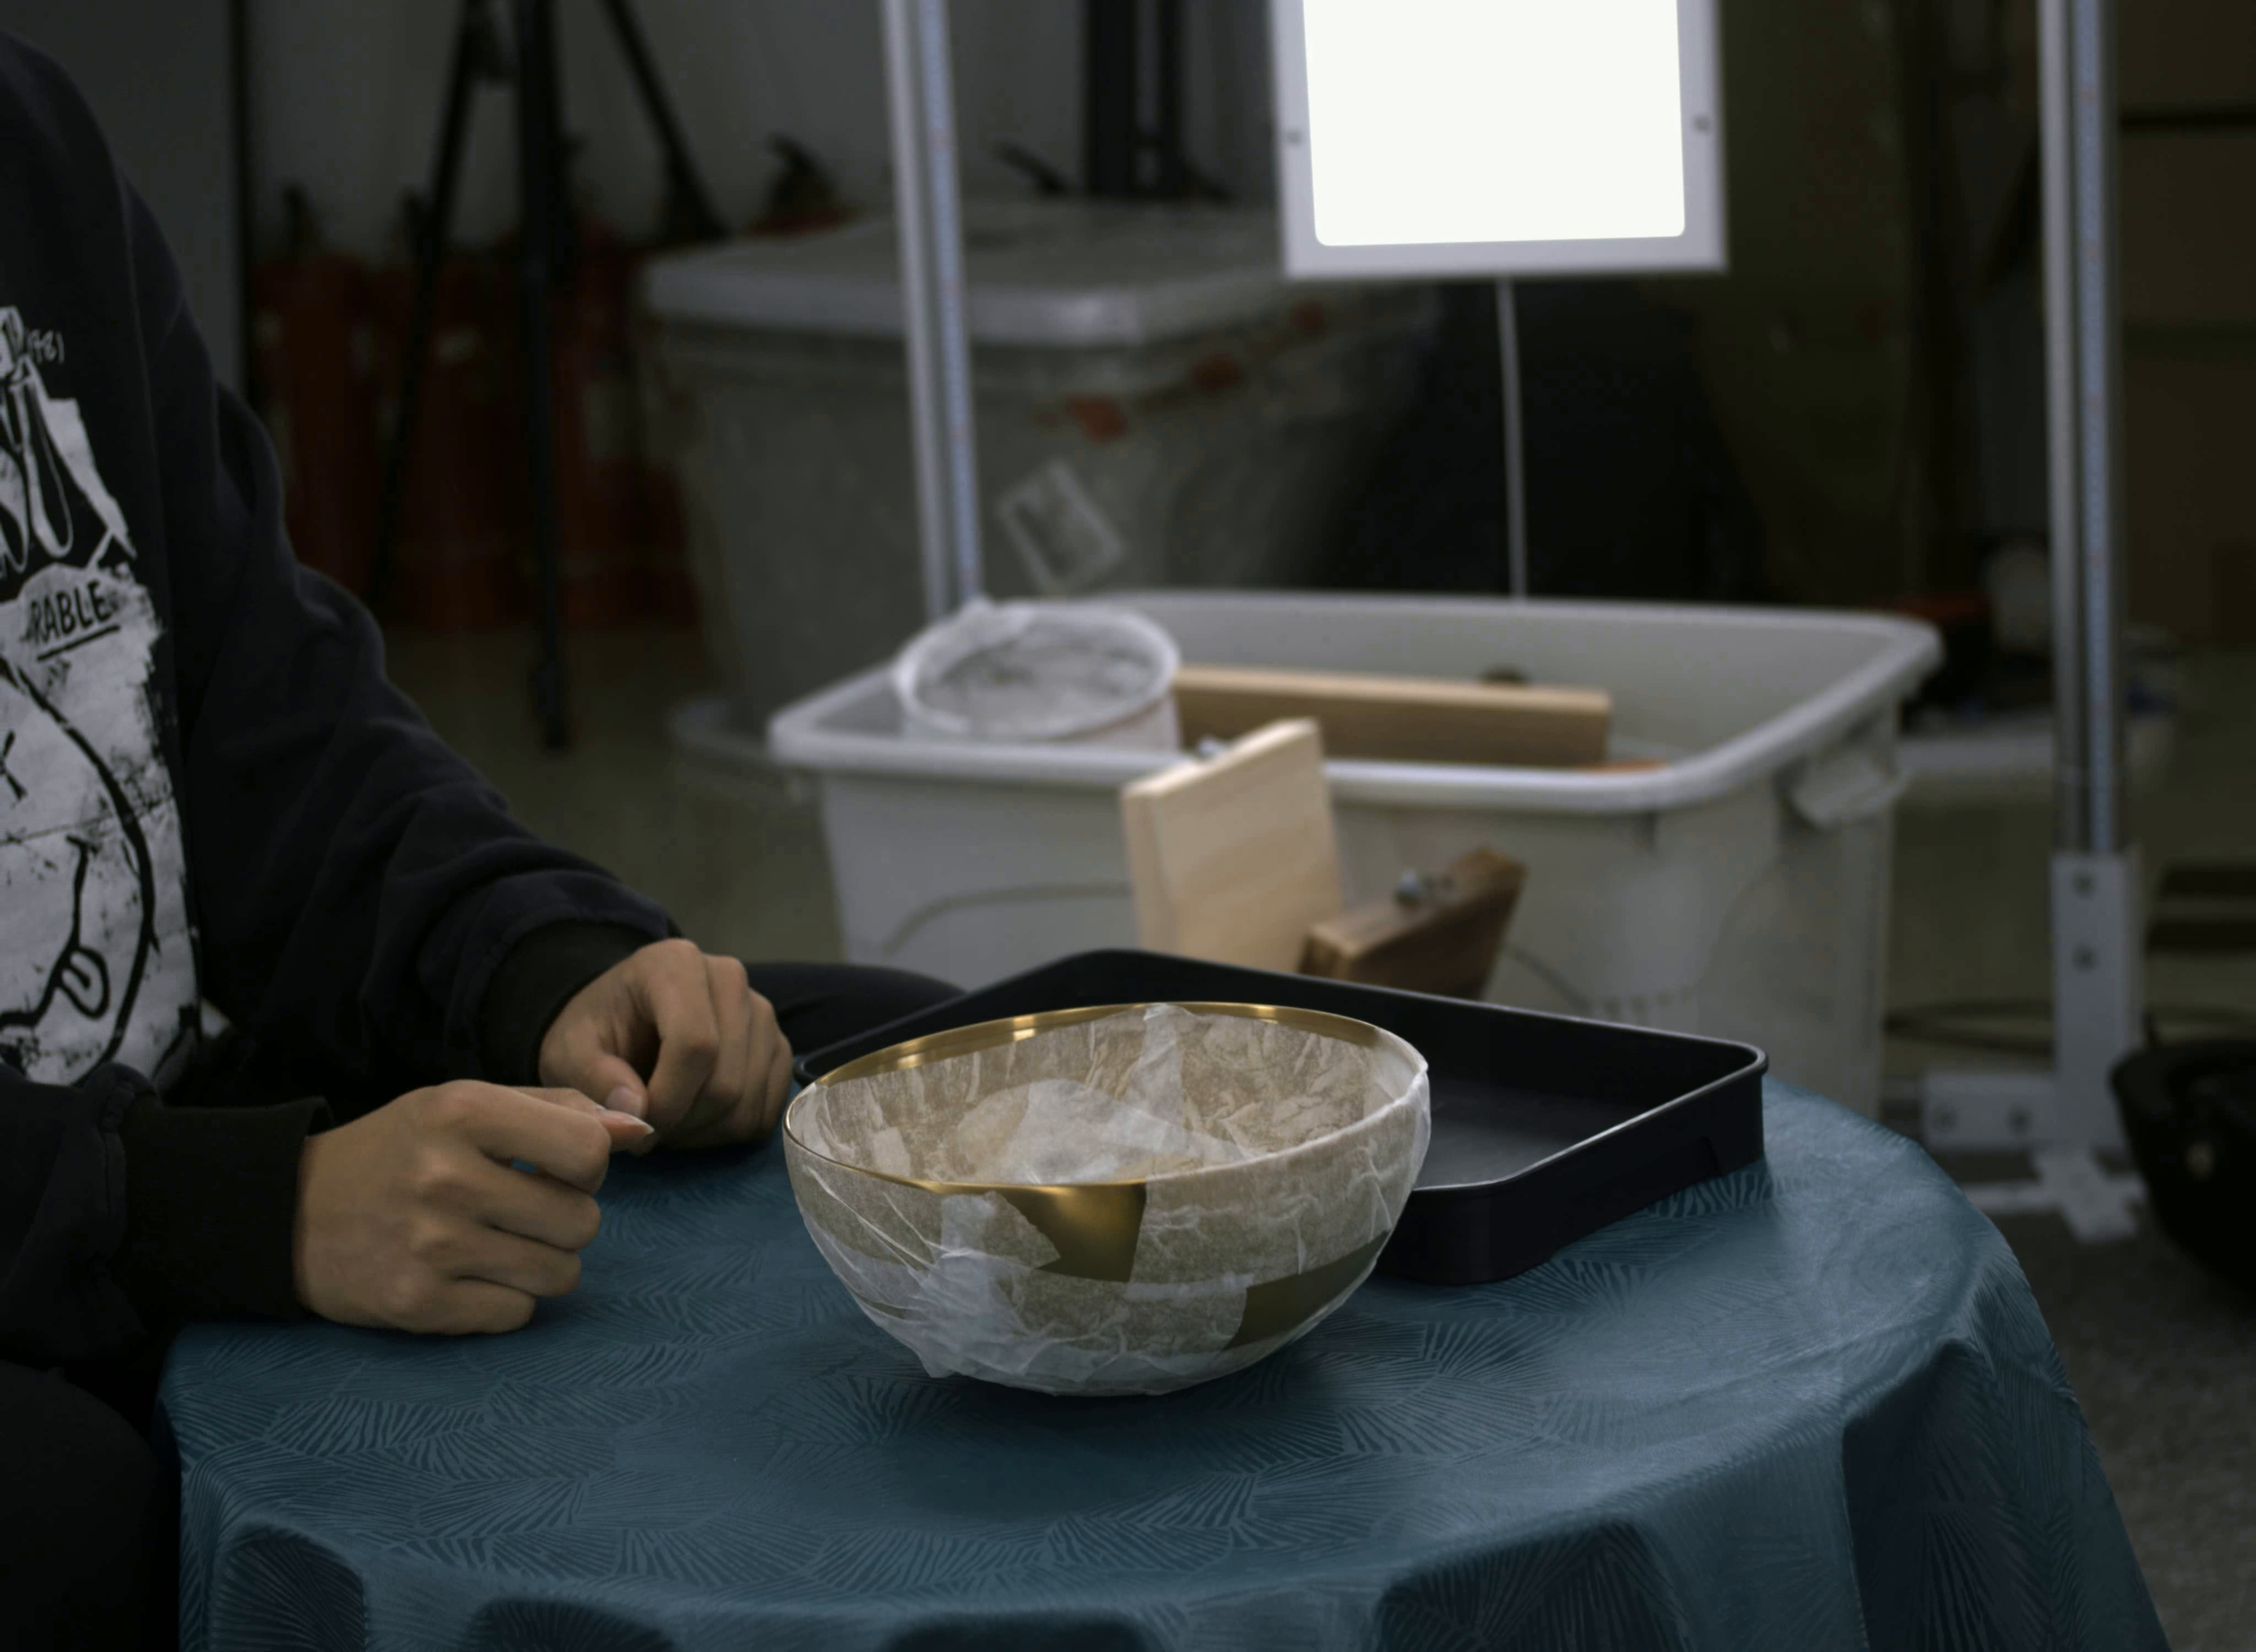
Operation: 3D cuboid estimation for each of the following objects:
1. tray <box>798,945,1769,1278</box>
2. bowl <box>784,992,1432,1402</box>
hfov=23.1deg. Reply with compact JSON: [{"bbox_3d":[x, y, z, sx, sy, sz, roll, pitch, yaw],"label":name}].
[{"bbox_3d":[0.052,0.096,1.922,0.325,0.037,0.179,7,19,43],"label":"tray"},{"bbox_3d":[-0.005,0.123,1.719,0.214,0.095,0.214,-6,15,0],"label":"bowl"}]
